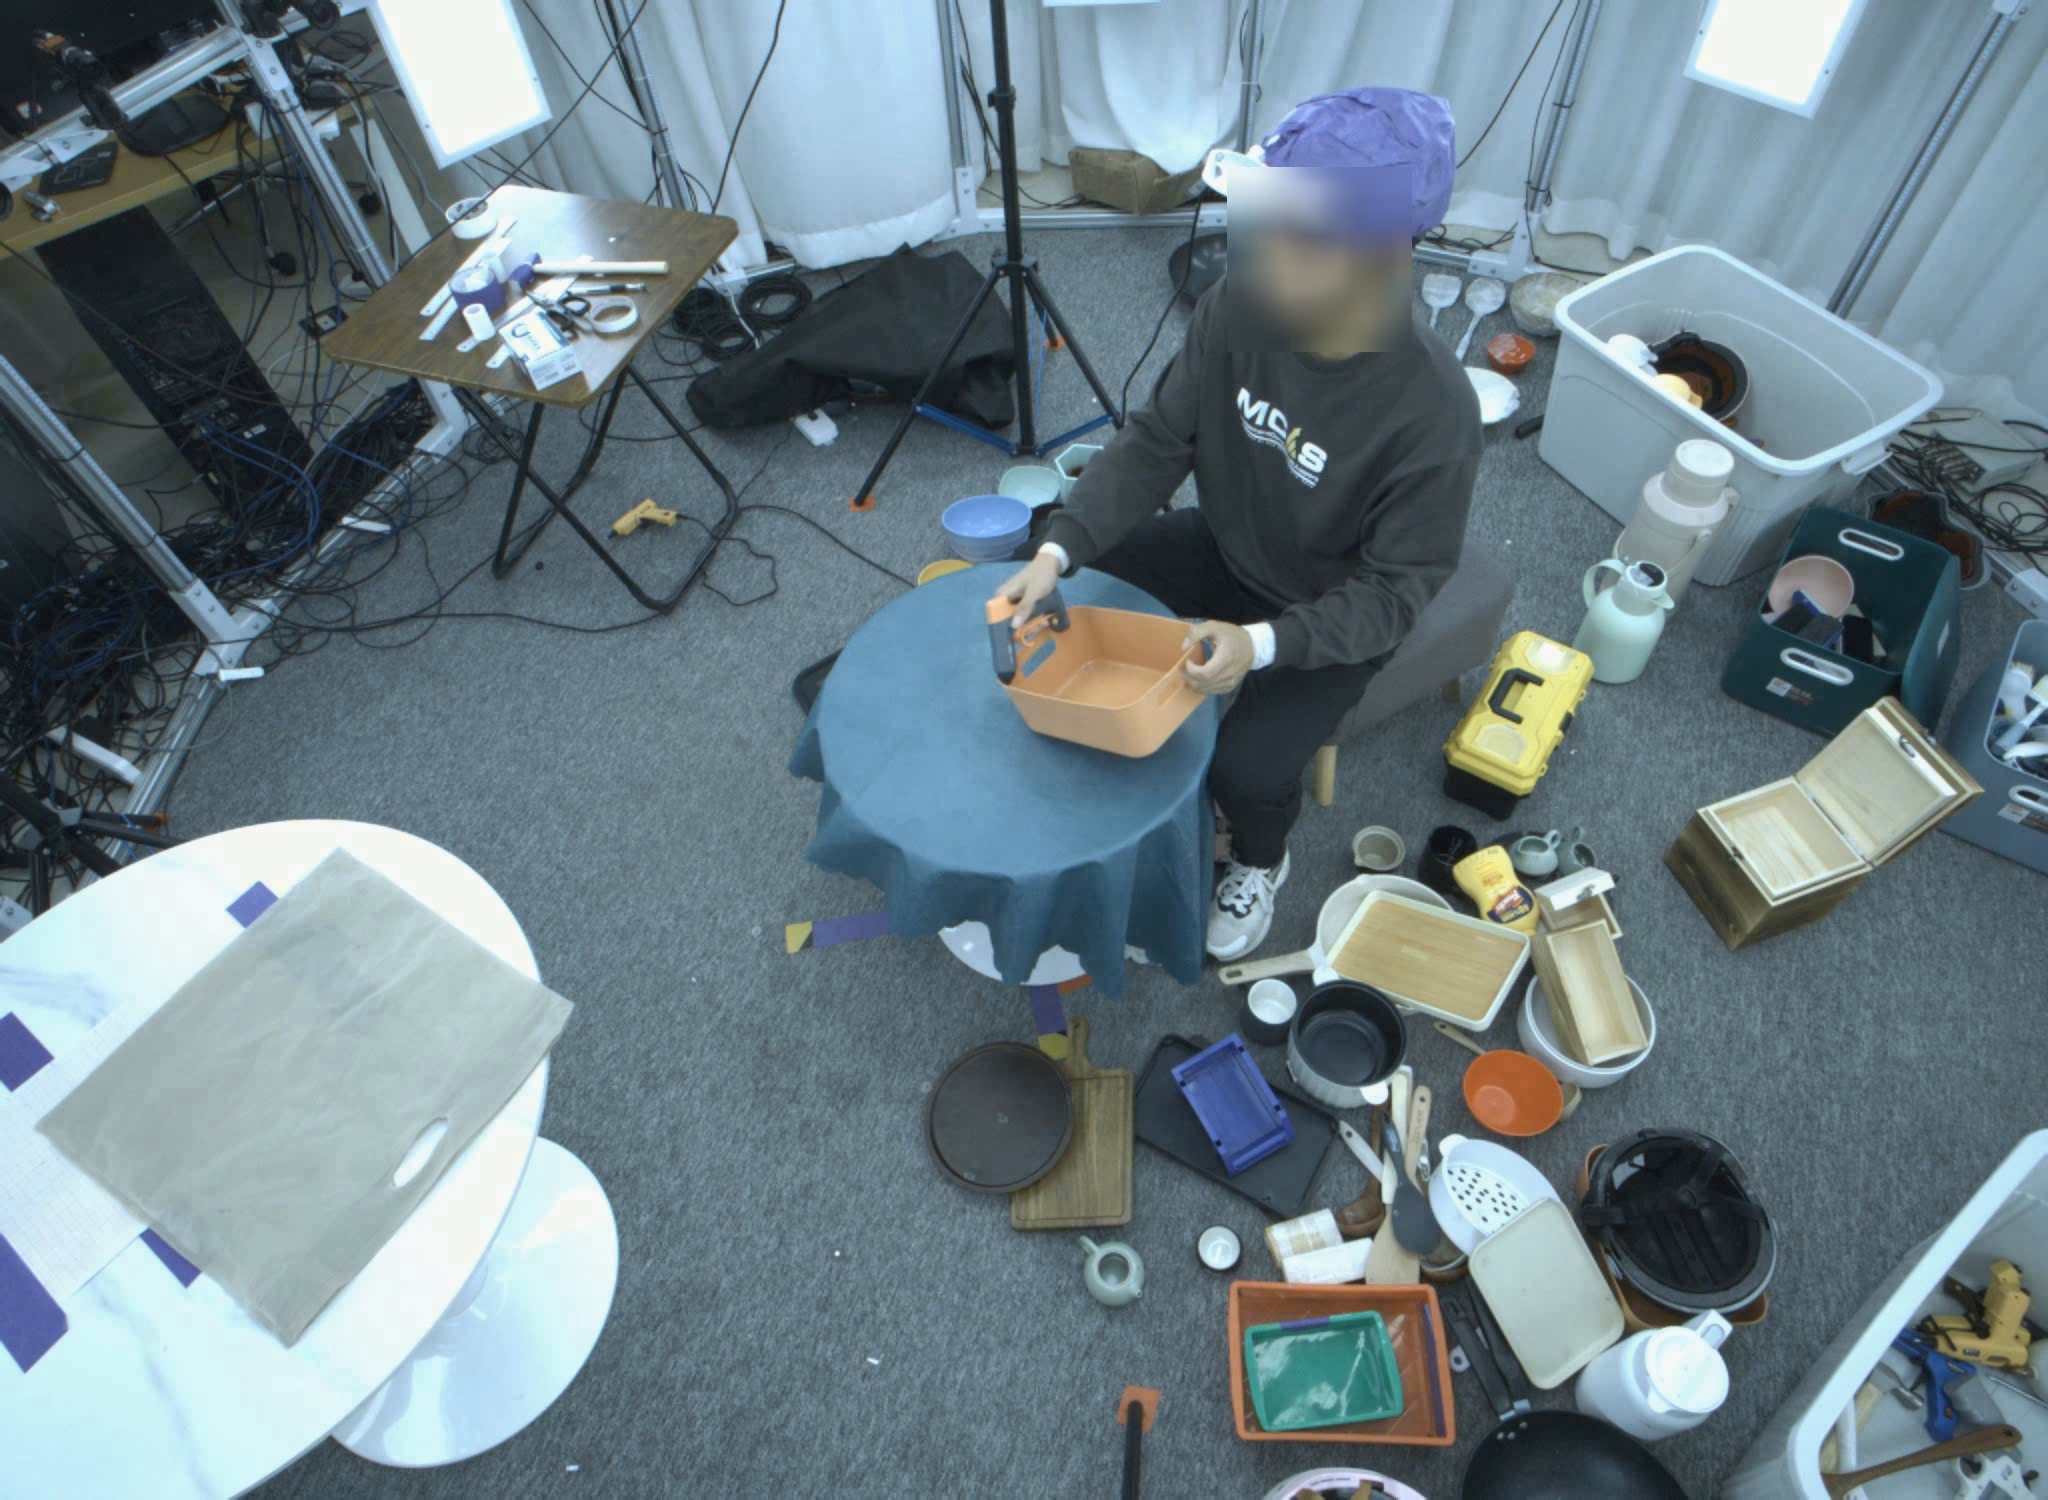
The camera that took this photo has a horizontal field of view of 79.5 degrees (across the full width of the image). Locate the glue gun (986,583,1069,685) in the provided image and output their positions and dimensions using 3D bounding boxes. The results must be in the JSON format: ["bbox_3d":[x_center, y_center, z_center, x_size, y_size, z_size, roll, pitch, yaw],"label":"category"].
[{"bbox_3d":[-0.001,-0.171,1.752,0.141,0.119,0.040,-35,29,-33],"label":"glue gun"}]

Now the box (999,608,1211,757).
[{"bbox_3d":[0.120,-0.096,1.740,0.267,0.104,0.200,15,50,43],"label":"box"}]
